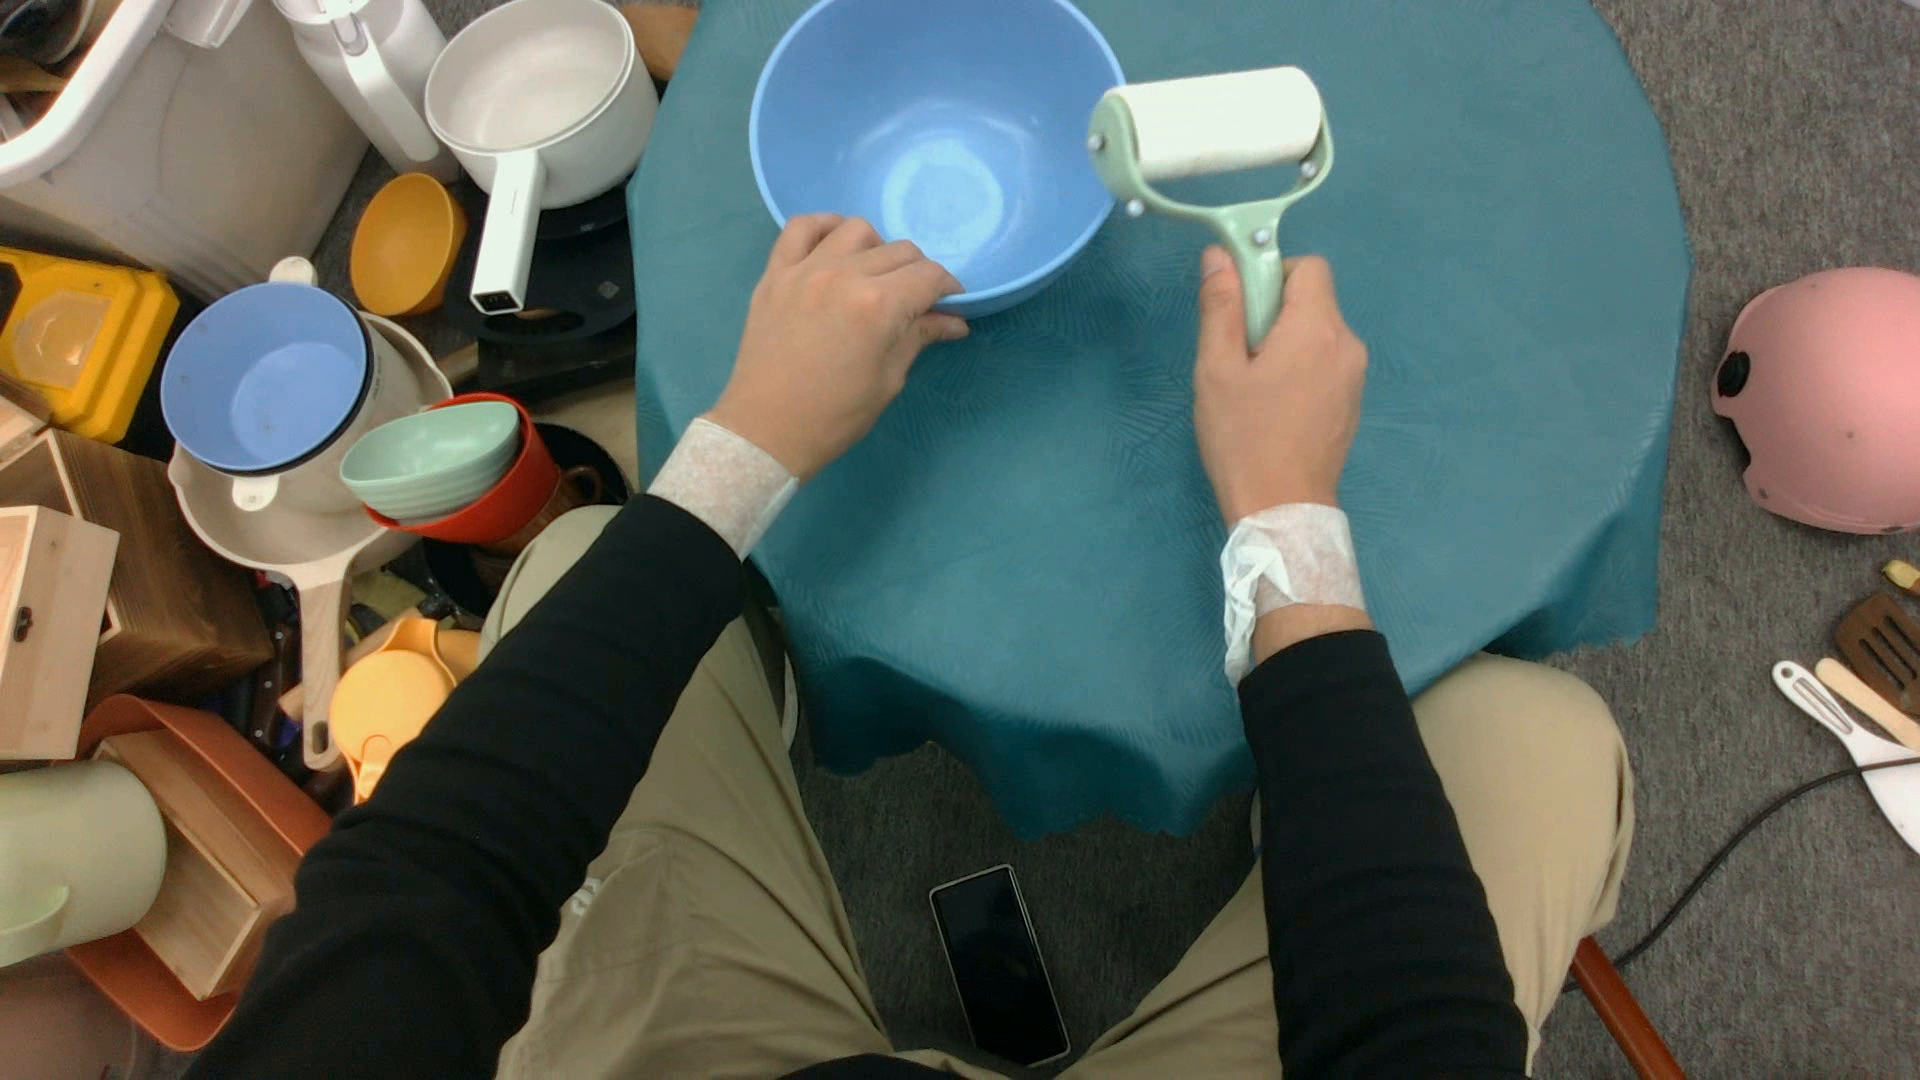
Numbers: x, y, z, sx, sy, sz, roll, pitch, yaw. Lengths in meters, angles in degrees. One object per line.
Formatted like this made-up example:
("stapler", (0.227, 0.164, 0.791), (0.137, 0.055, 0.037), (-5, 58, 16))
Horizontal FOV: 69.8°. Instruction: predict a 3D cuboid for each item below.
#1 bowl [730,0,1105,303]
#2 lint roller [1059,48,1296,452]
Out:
("bowl", (-0.019, -0.208, 0.746), (0.196, 0.095, 0.197), (0, 75, -1))
("lint roller", (0.122, -0.140, 0.674), (0.117, 0.048, 0.197), (-14, 90, -27))
